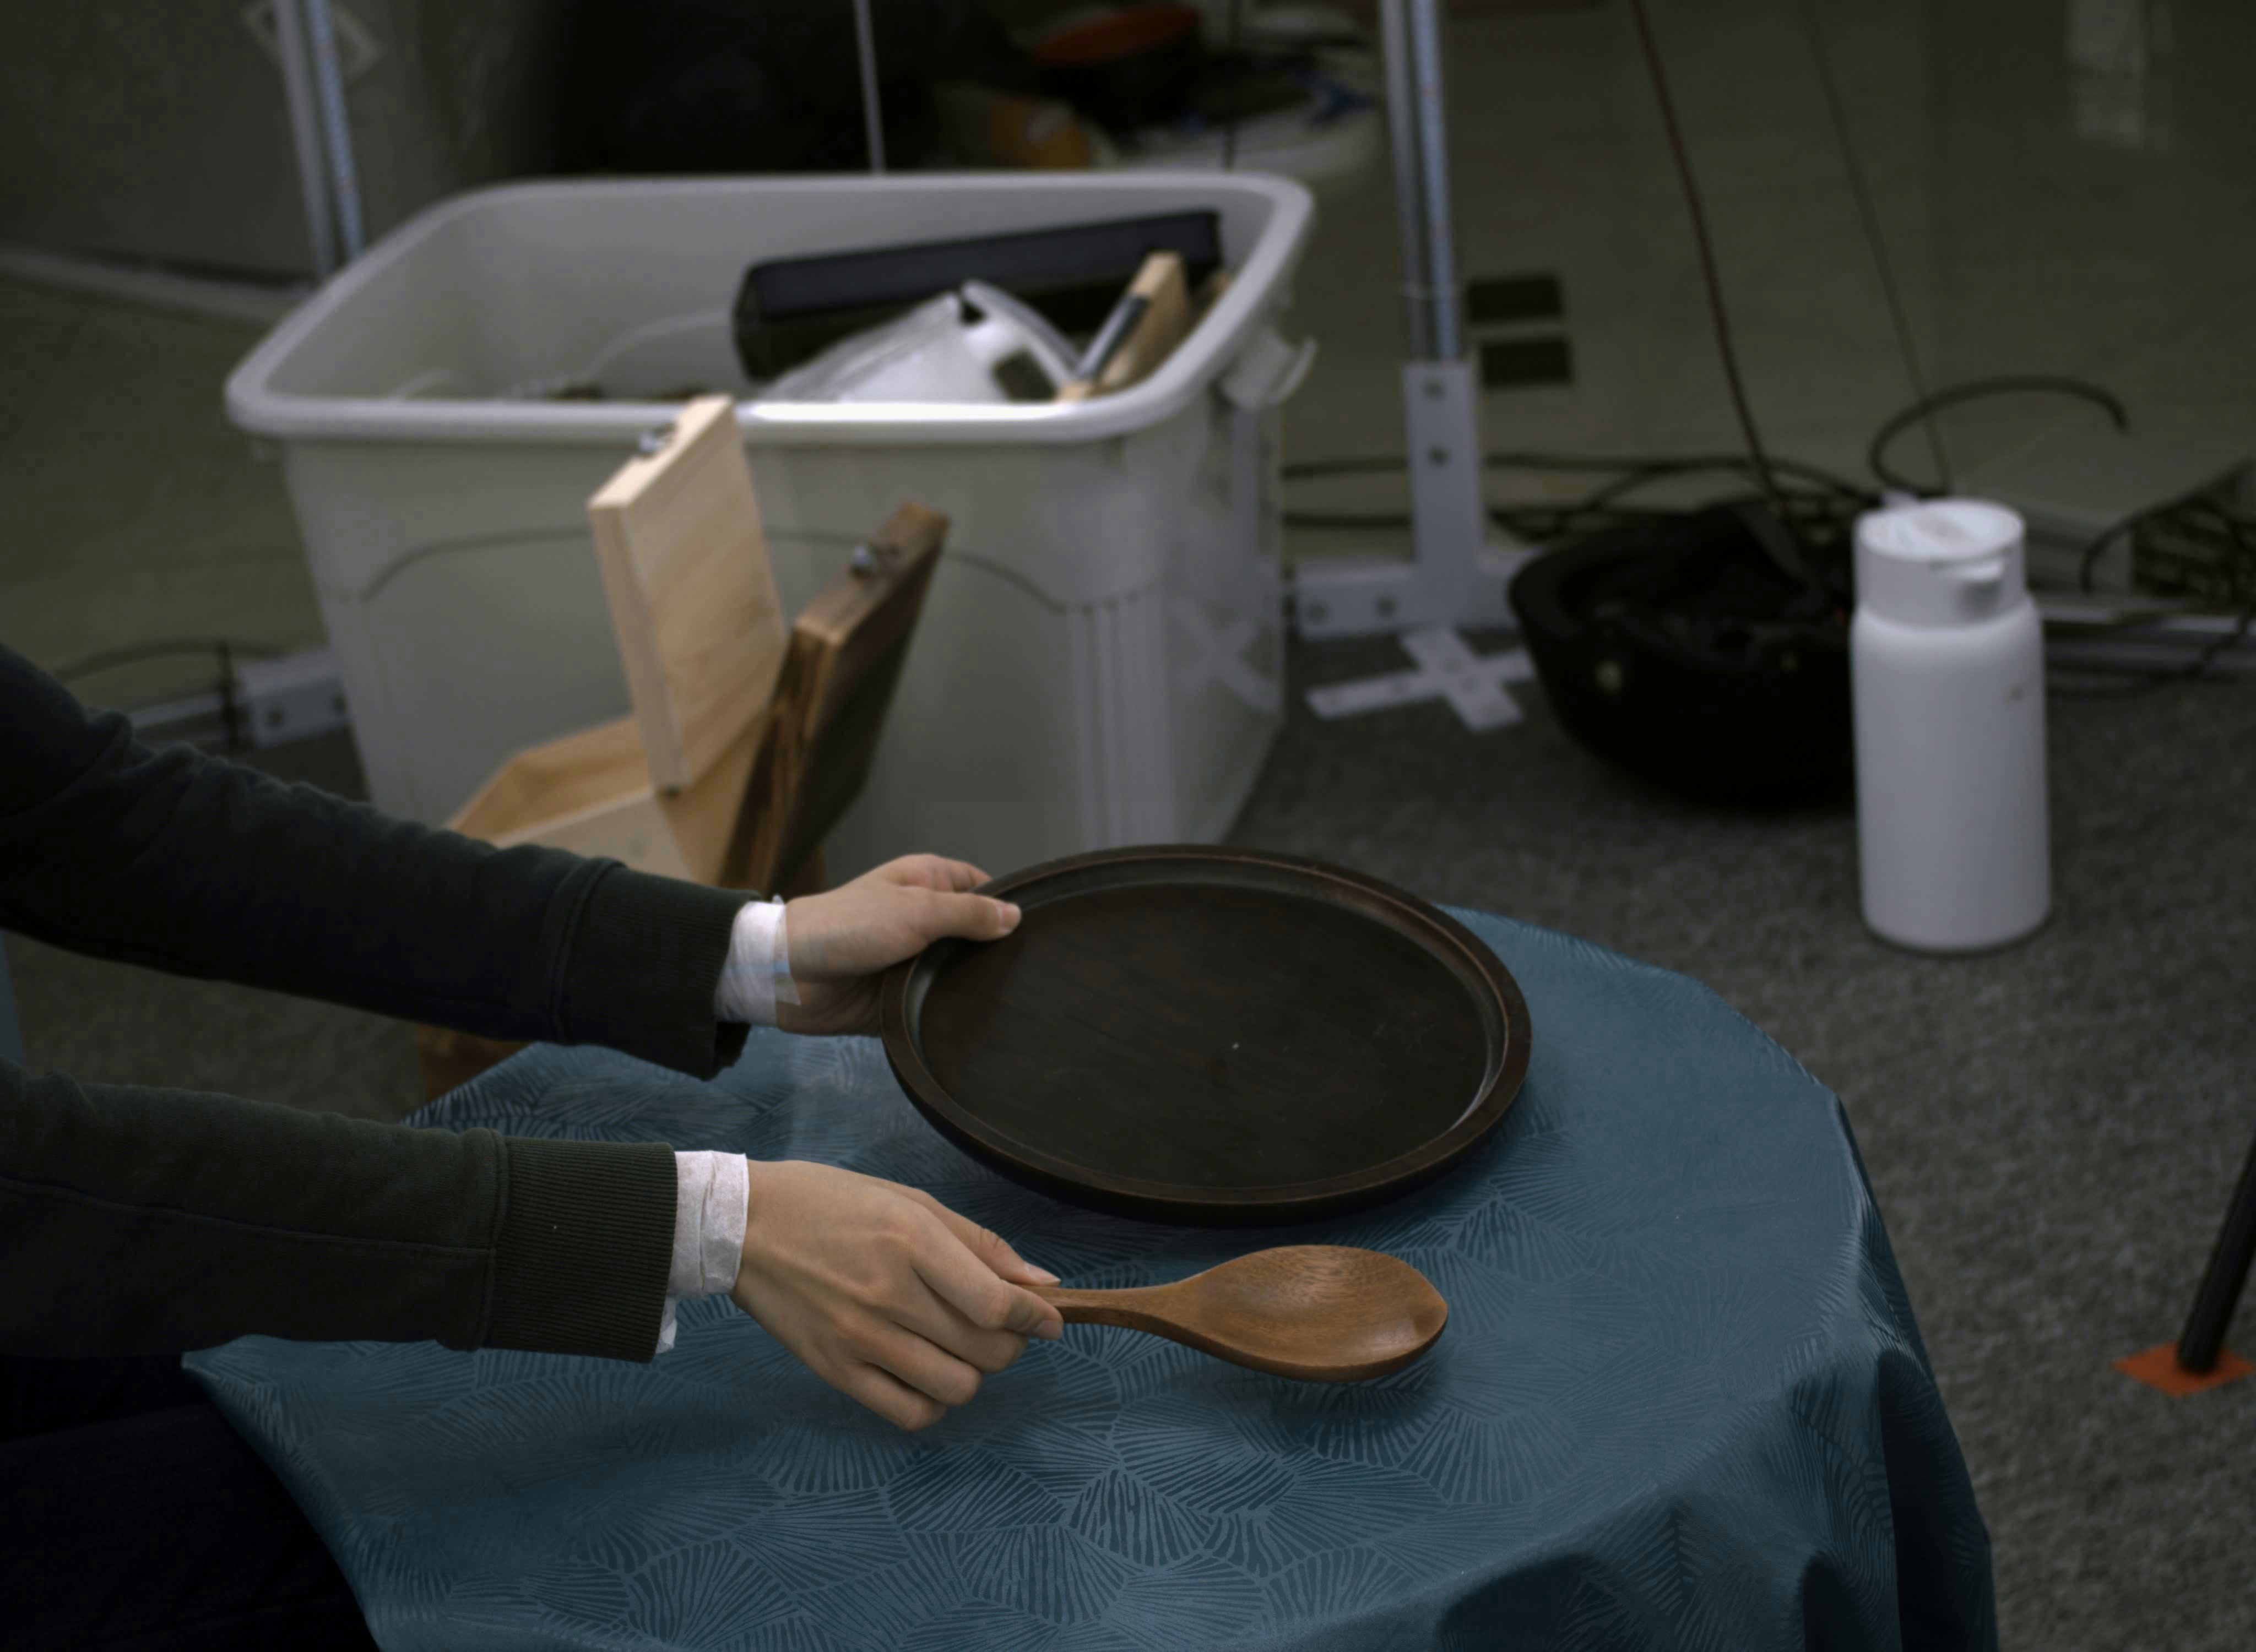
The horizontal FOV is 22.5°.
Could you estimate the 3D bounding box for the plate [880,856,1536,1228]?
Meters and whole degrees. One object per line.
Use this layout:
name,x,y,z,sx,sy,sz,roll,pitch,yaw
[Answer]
plate,0.030,0.081,2.187,0.254,0.029,0.250,3,31,-2

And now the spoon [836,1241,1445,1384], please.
spoon,0.004,0.171,2.008,0.215,0.017,0.074,2,33,3
